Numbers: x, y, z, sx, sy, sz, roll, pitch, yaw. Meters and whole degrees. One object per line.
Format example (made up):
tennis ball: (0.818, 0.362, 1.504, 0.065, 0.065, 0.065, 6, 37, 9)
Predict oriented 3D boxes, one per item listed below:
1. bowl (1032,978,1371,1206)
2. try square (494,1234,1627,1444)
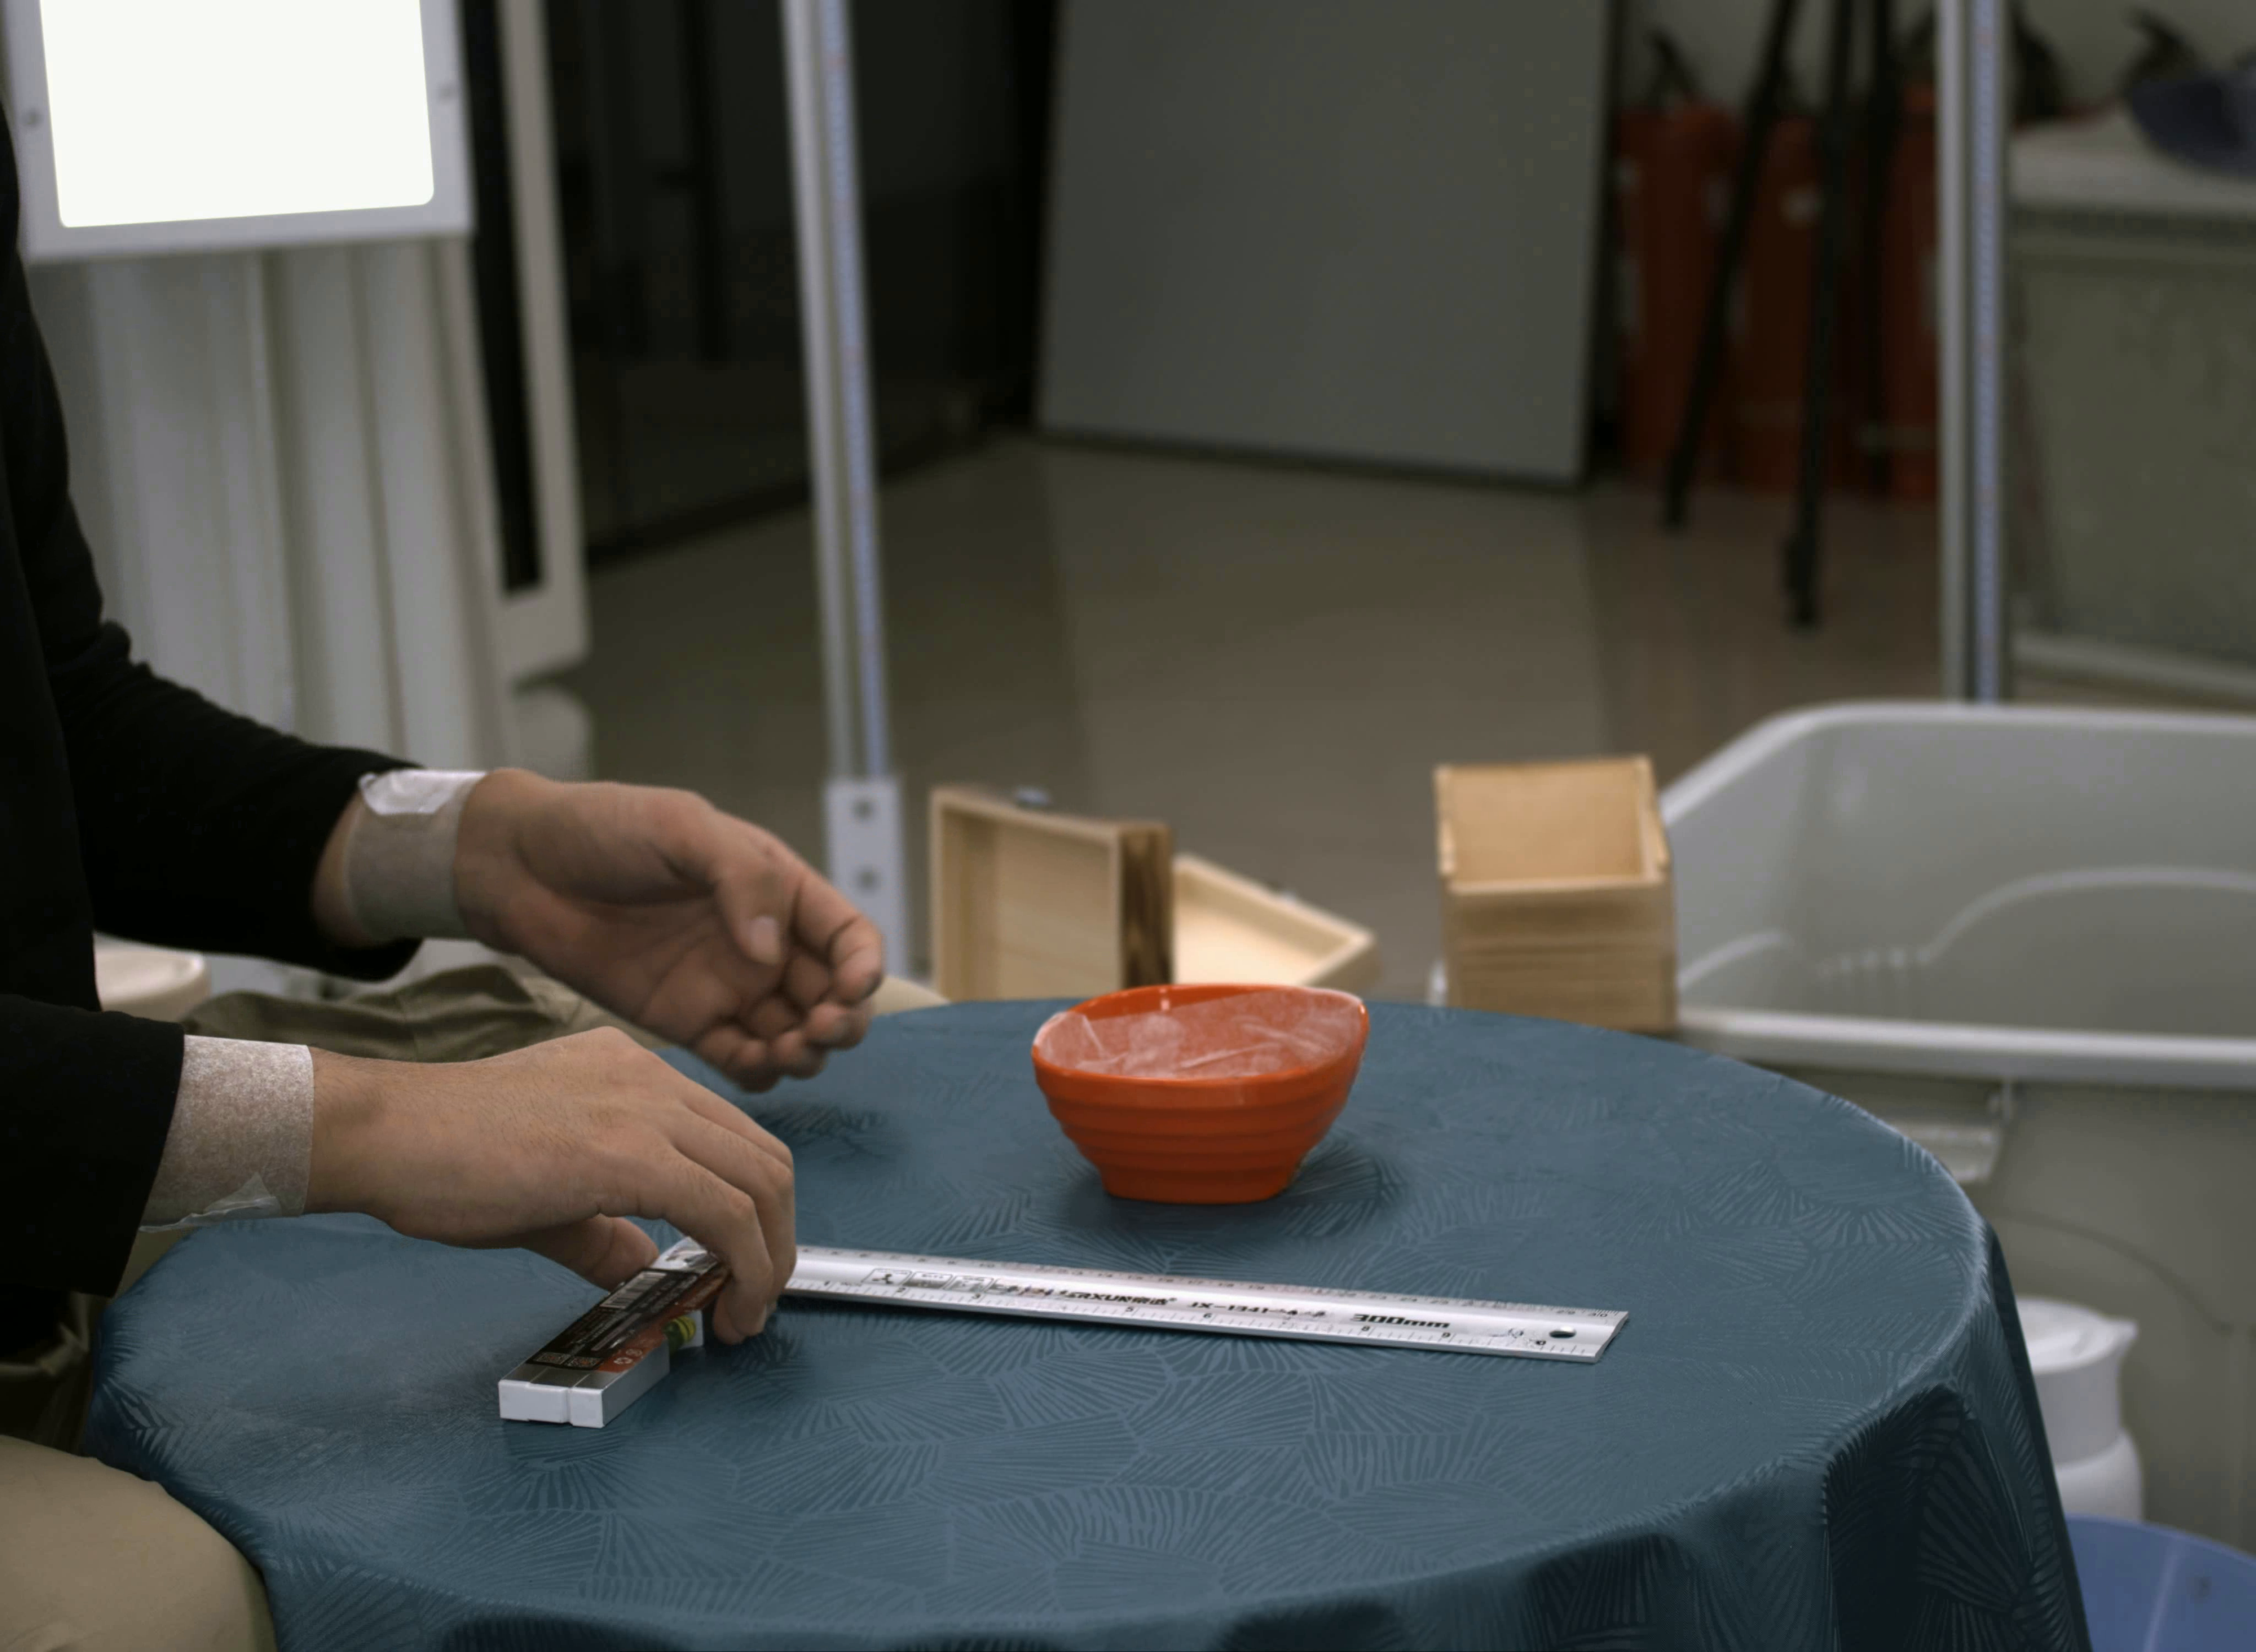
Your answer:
bowl: (0.026, 0.090, 1.778, 0.117, 0.052, 0.119, -3, 16, 0)
try square: (-0.019, 0.160, 1.608, 0.312, 0.016, 0.151, 2, 17, 21)
